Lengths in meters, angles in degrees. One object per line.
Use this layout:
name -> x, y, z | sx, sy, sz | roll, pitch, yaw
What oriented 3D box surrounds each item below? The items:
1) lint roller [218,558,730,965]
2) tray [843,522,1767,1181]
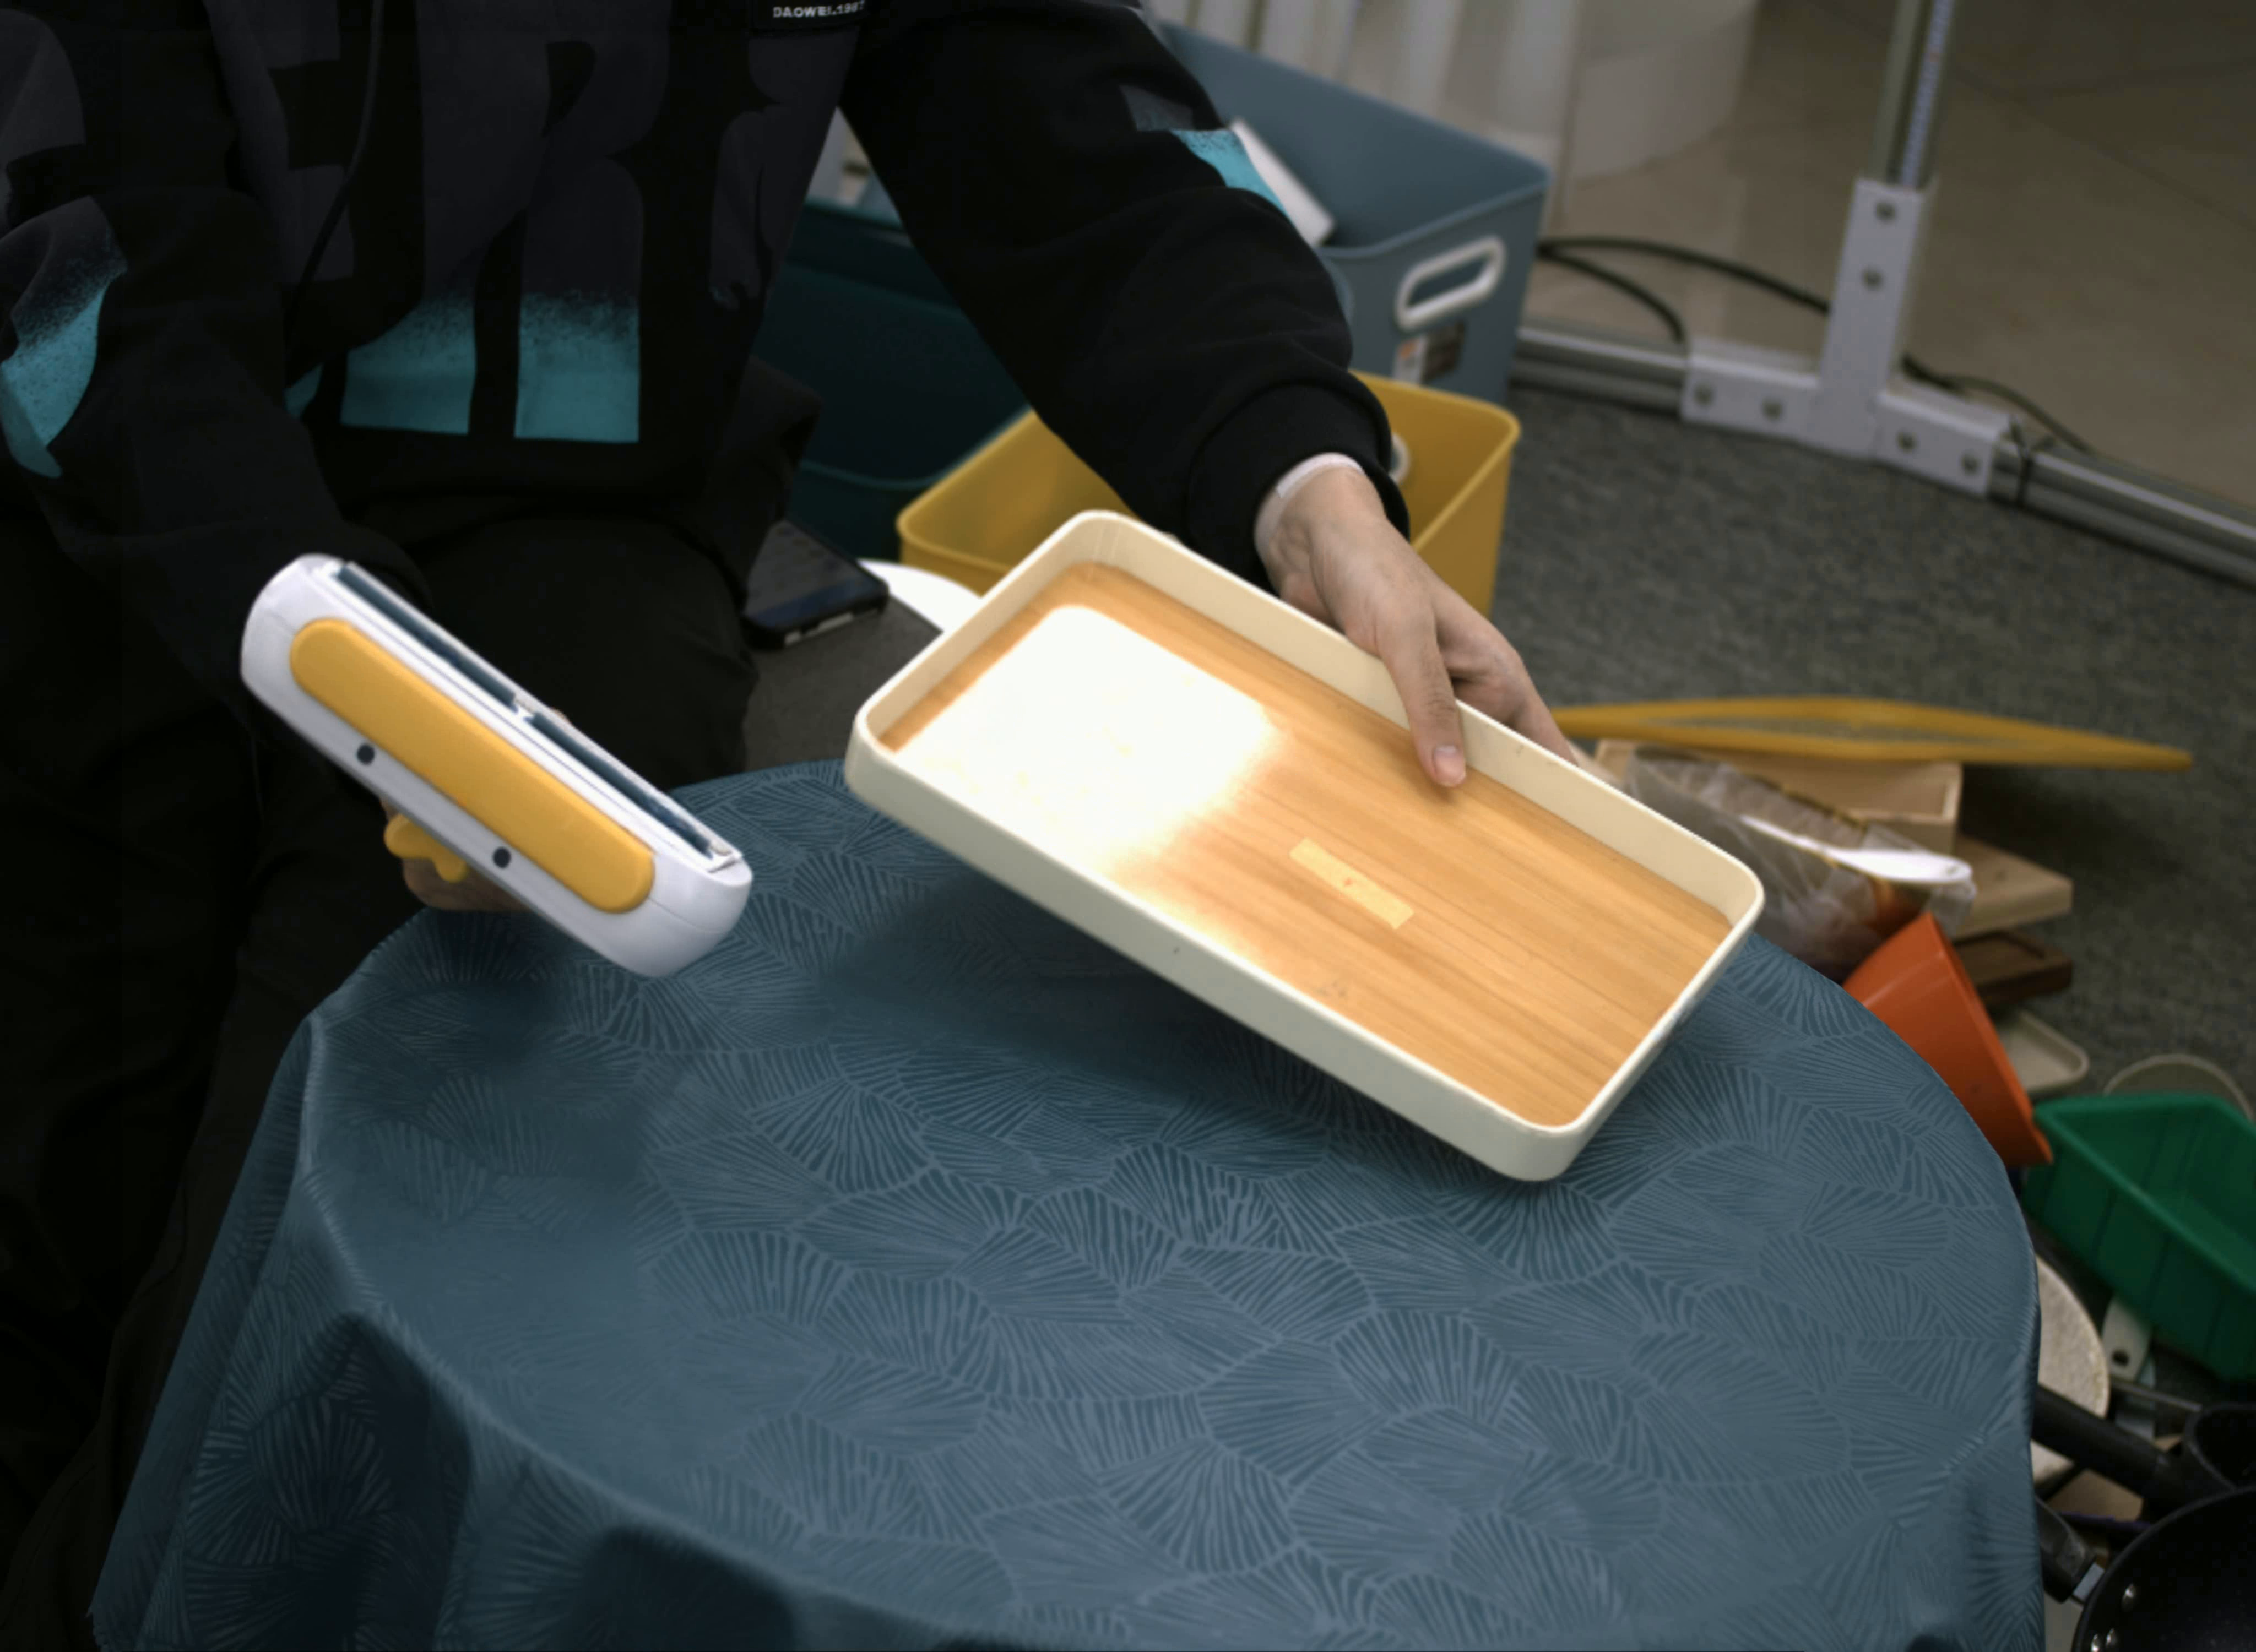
lint roller -> -0.213, -0.012, 1.836 | 0.193, 0.074, 0.192 | 31, 1, 11
tray -> 0.064, 0.004, 1.912 | 0.301, 0.027, 0.191 | 30, 40, 16
